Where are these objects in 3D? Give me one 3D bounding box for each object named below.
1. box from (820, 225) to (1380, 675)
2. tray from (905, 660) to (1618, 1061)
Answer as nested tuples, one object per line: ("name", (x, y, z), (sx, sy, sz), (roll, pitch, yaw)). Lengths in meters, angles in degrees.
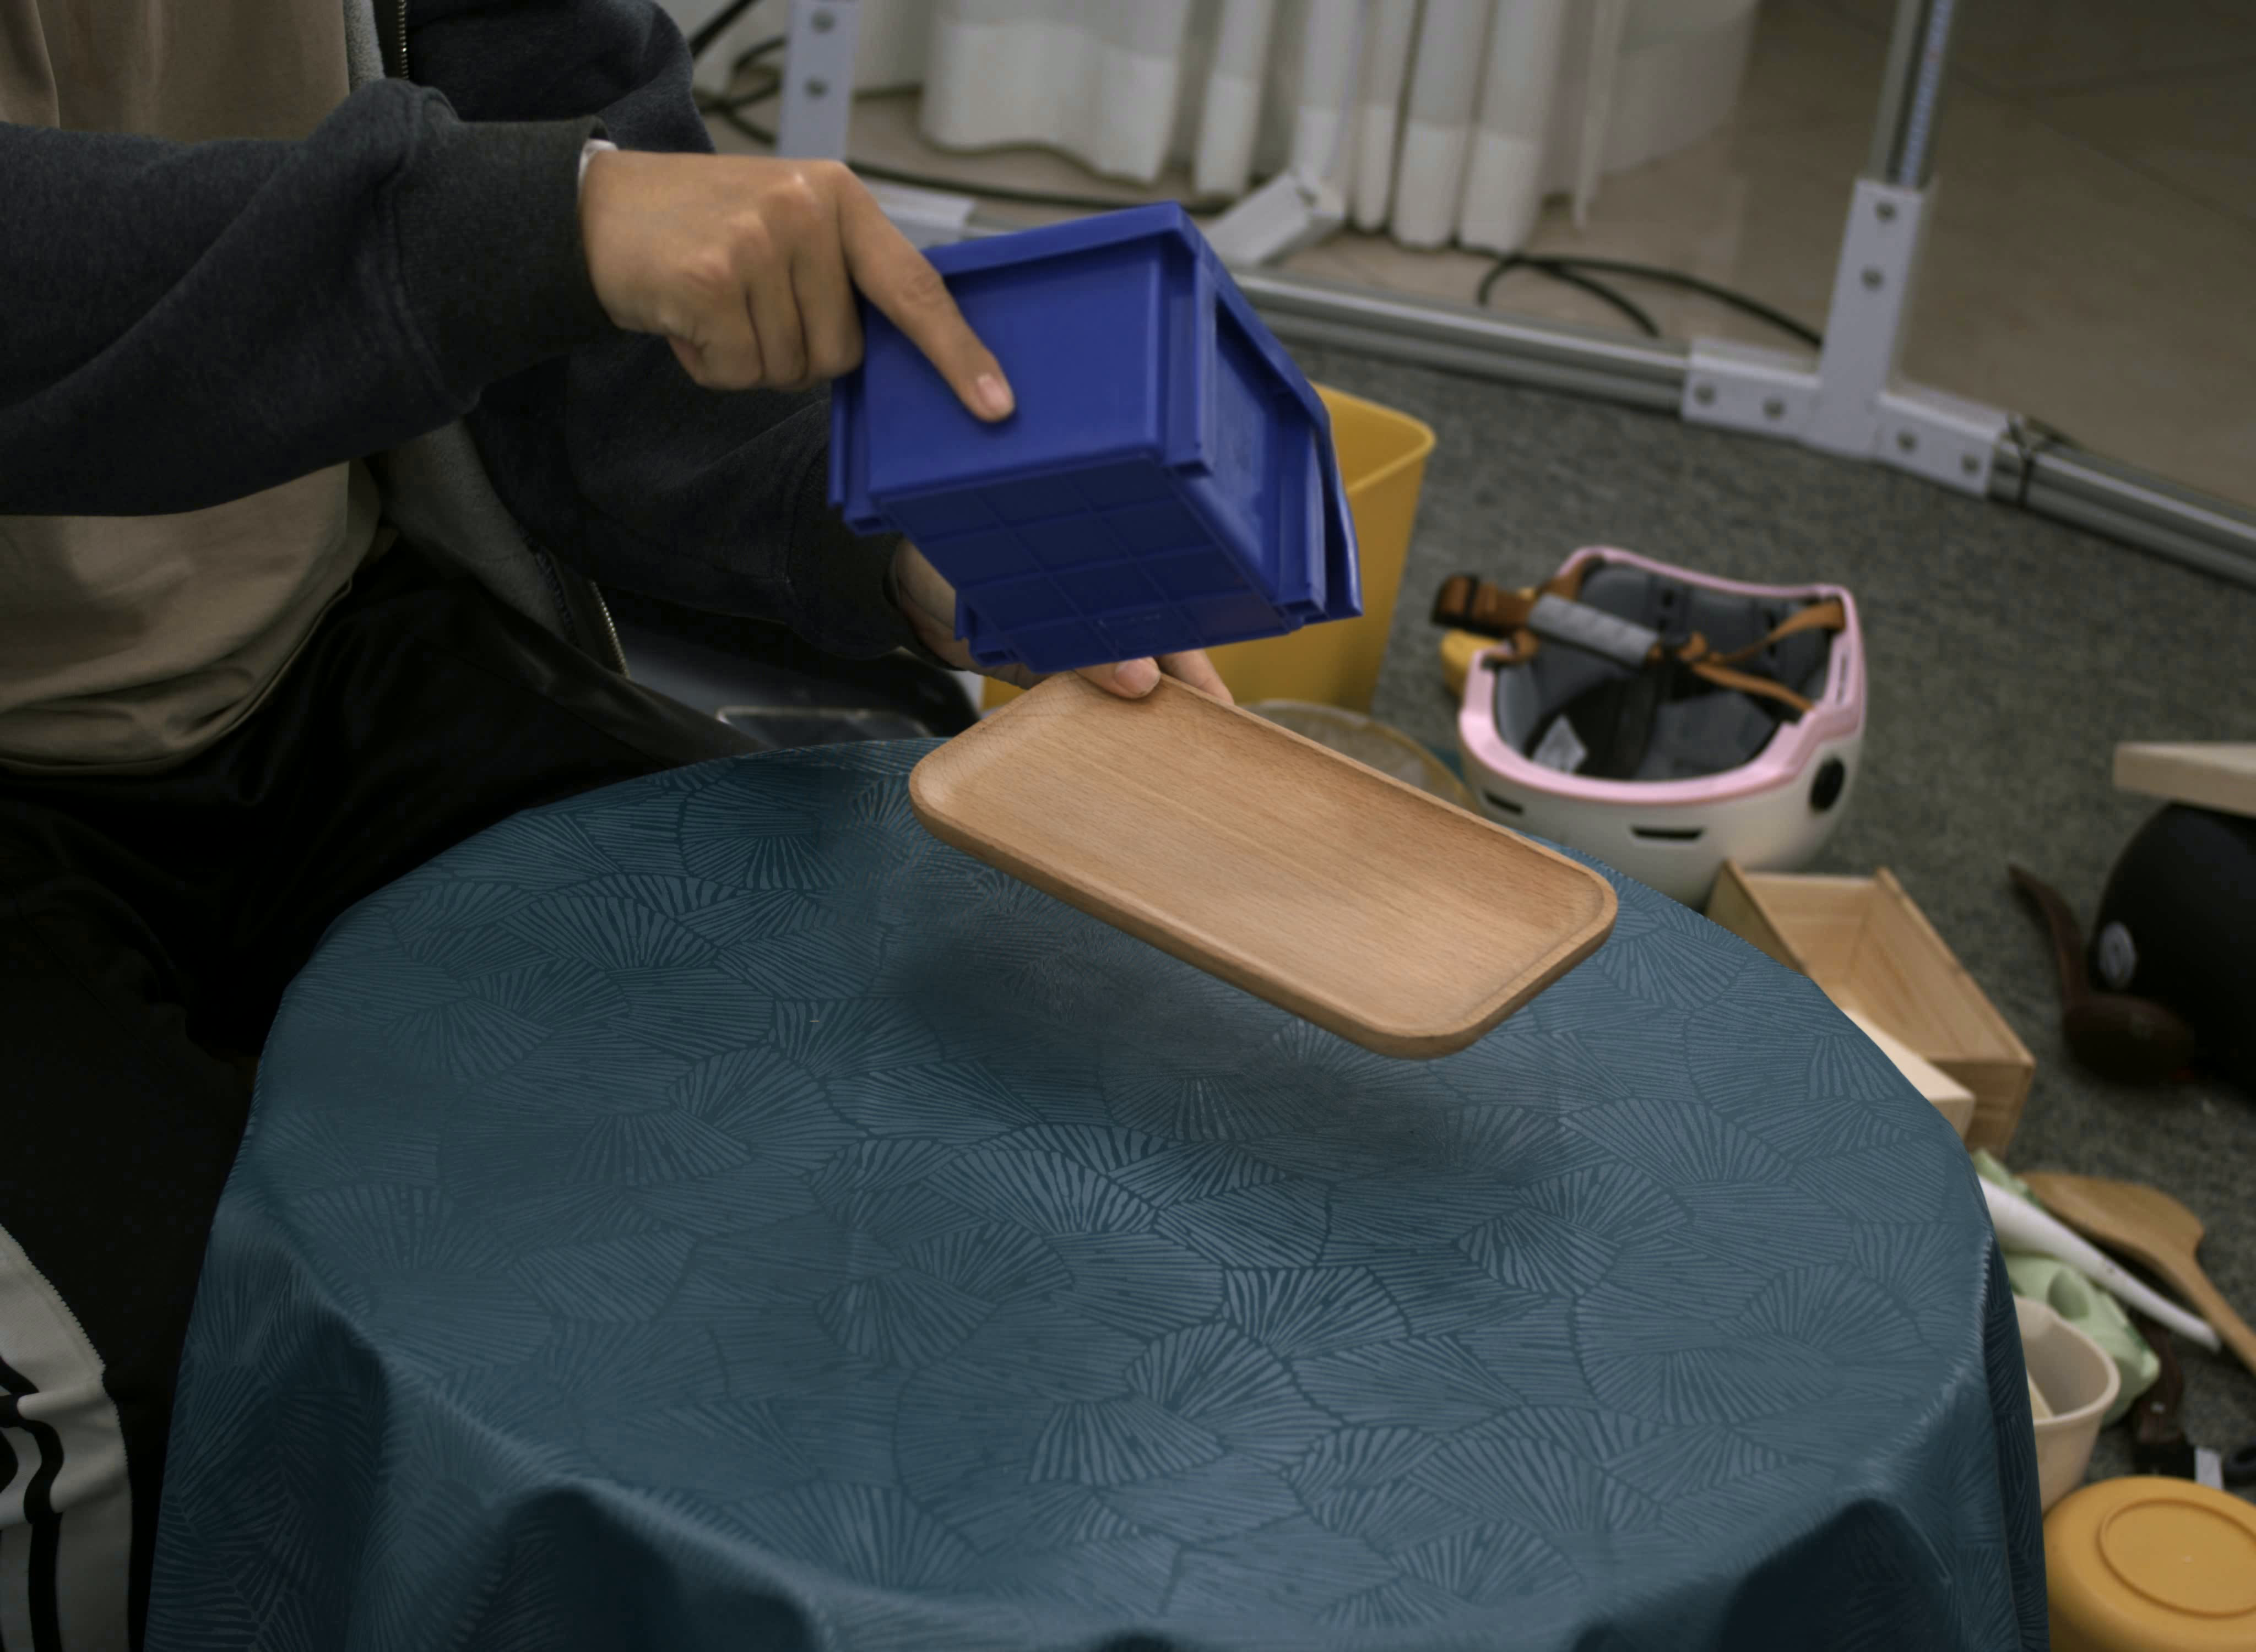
("box", (-0.008, -0.112, 1.724), (0.124, 0.082, 0.178), (-10, -22, 22))
("tray", (0.045, 0.010, 1.874), (0.252, 0.023, 0.130), (25, 39, 34))
